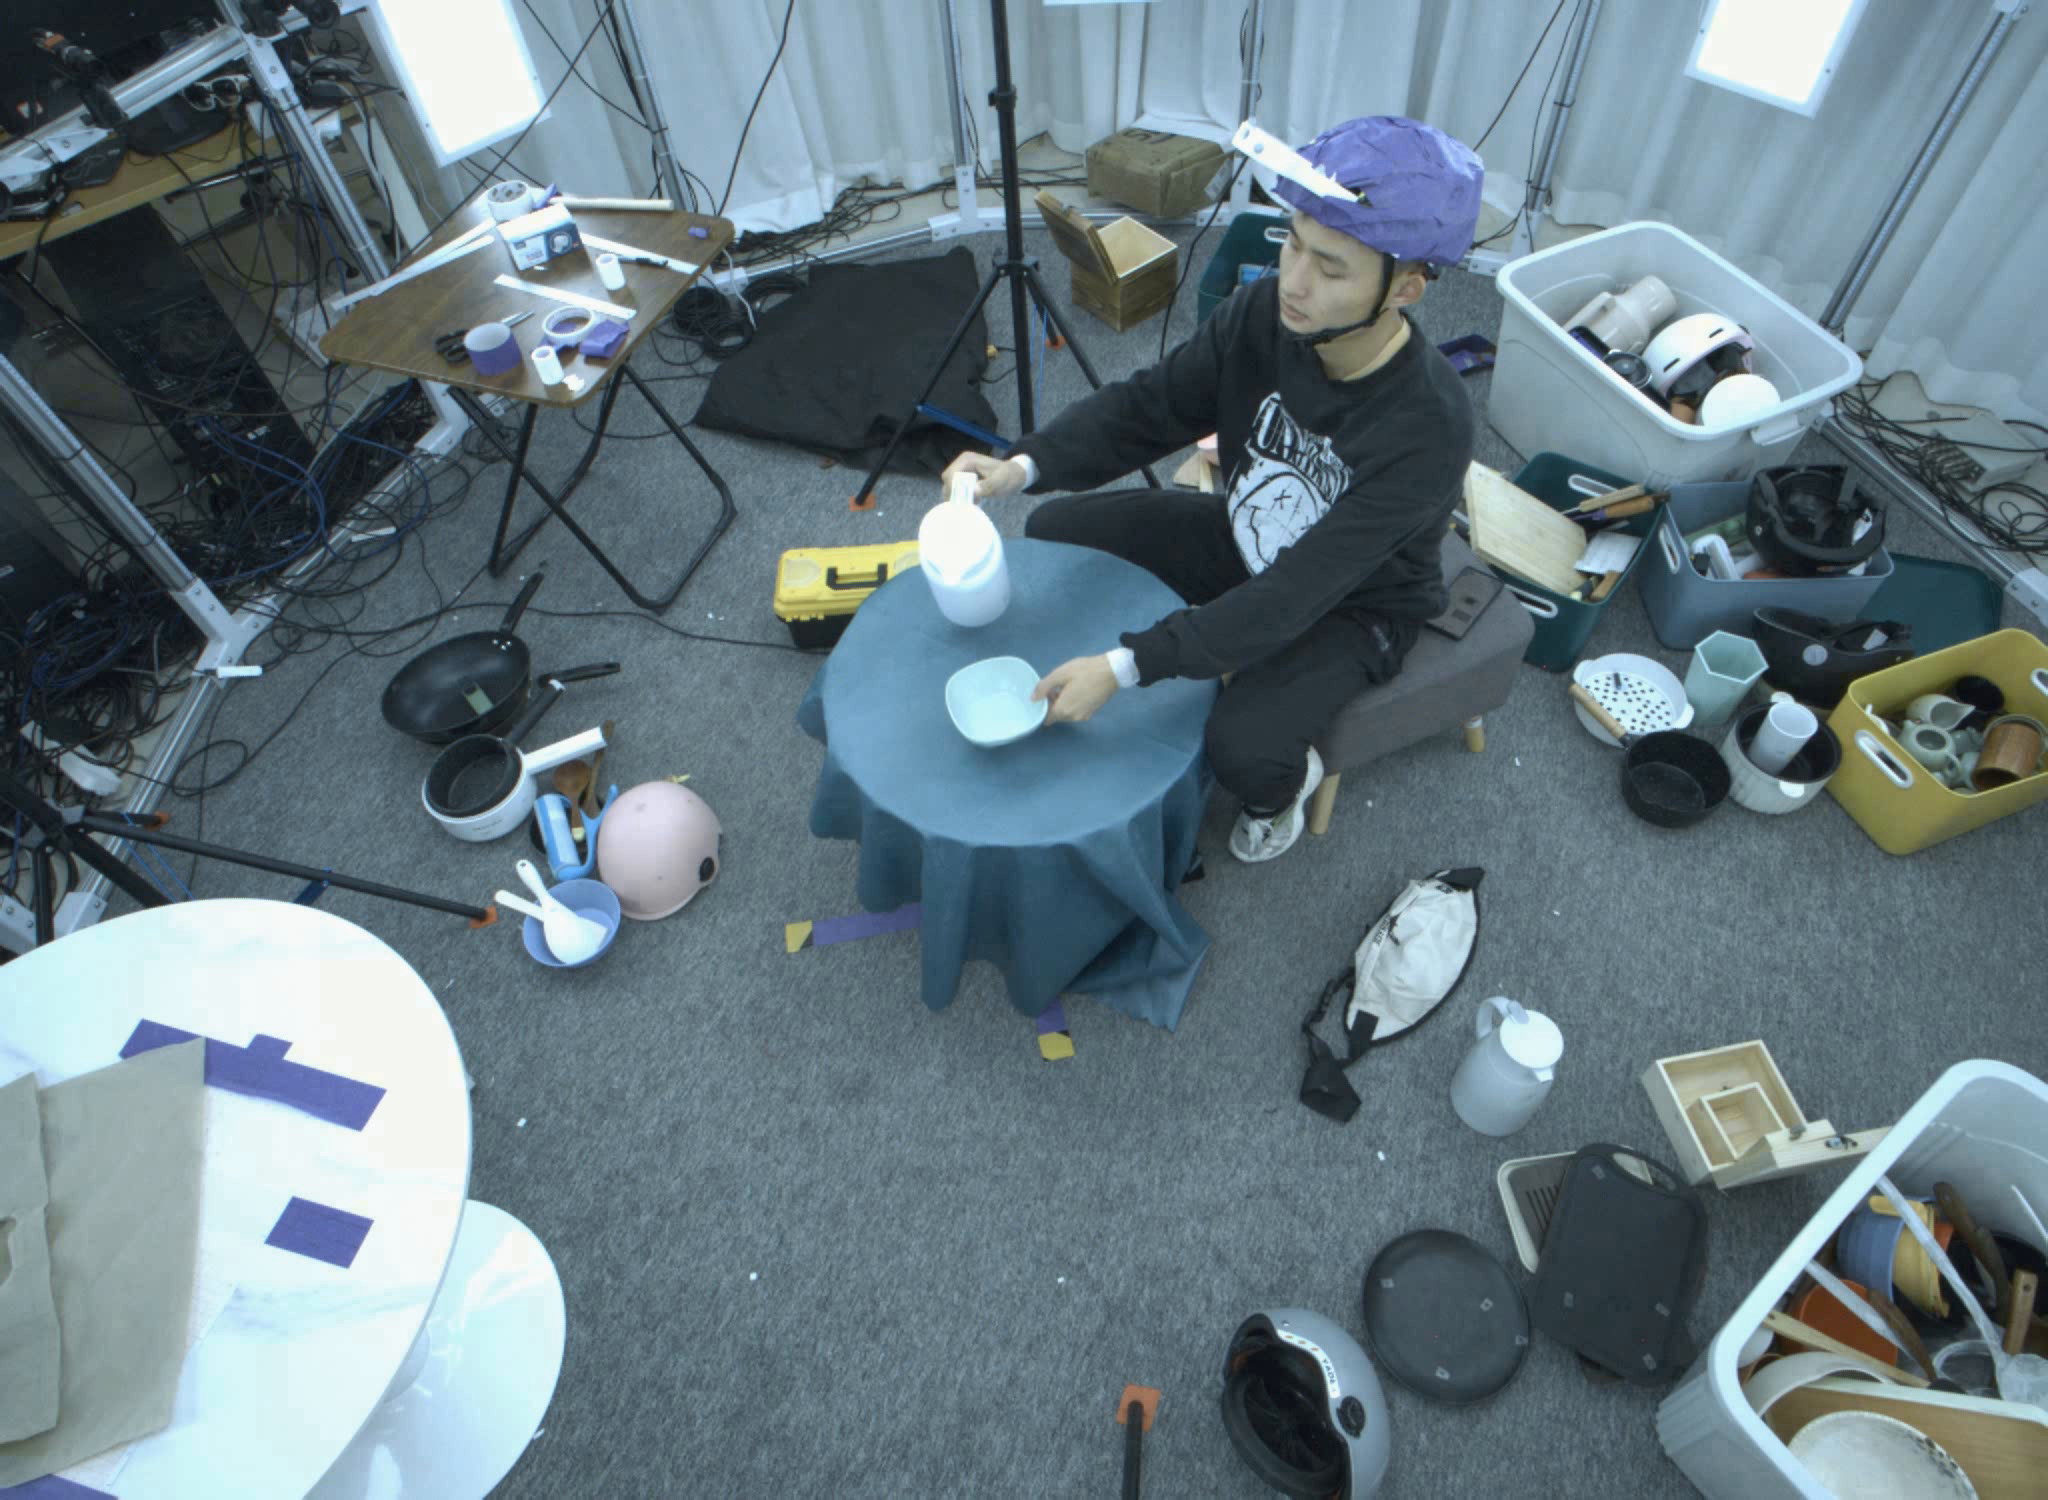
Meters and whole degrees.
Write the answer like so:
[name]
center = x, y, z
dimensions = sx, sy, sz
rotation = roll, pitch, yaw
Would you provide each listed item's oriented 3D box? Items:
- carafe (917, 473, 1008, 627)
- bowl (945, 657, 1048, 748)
[carafe]
center = -0.088, -0.282, 1.761
dimensions = 0.123, 0.270, 0.172
rotation = 4, 81, 5
[bowl]
center = -0.038, -0.057, 1.756
dimensions = 0.151, 0.059, 0.150
rotation = 0, 59, 1
